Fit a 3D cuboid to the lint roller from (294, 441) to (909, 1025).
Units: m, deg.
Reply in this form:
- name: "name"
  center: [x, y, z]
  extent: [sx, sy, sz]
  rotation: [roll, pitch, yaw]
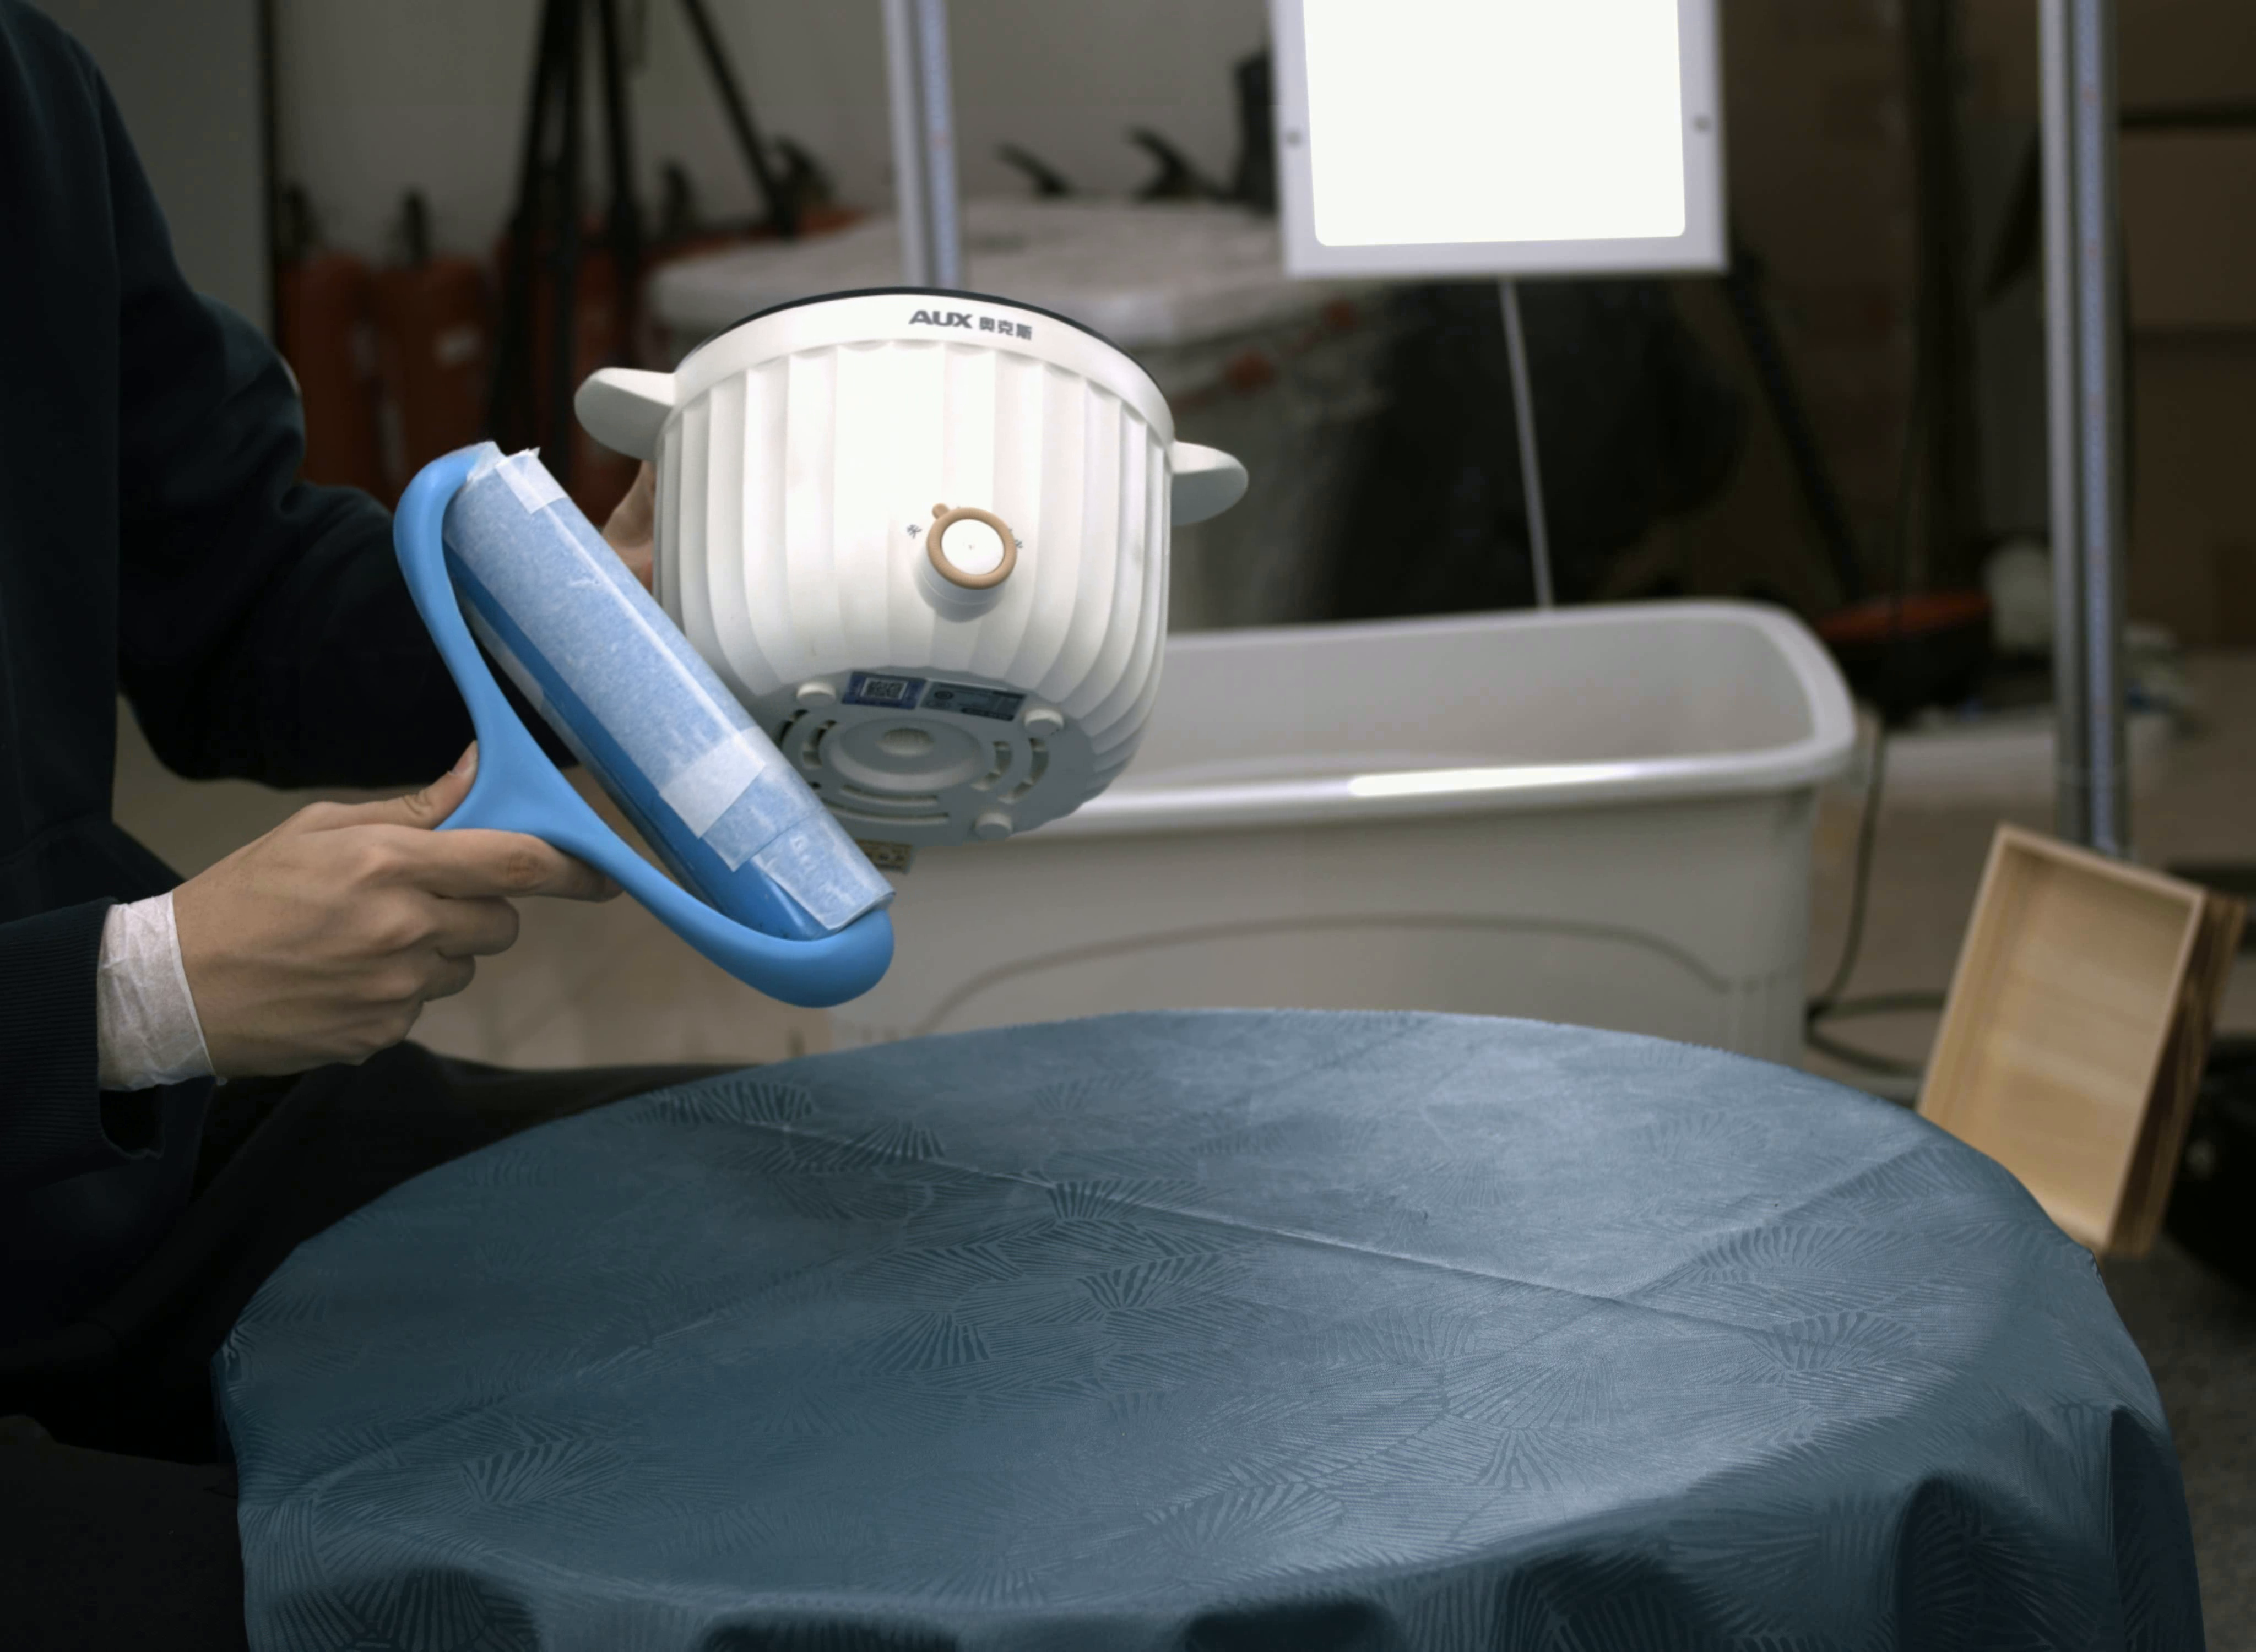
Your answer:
- name: "lint roller"
  center: [-0.196, -0.001, 1.803]
  extent: [0.178, 0.229, 0.068]
  rotation: [-42, -5, -19]

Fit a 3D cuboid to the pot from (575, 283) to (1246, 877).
- name: "pot"
  center: [-0.071, -0.083, 1.890]
  extent: [0.237, 0.142, 0.193]
  rotation: [6, -32, -12]
